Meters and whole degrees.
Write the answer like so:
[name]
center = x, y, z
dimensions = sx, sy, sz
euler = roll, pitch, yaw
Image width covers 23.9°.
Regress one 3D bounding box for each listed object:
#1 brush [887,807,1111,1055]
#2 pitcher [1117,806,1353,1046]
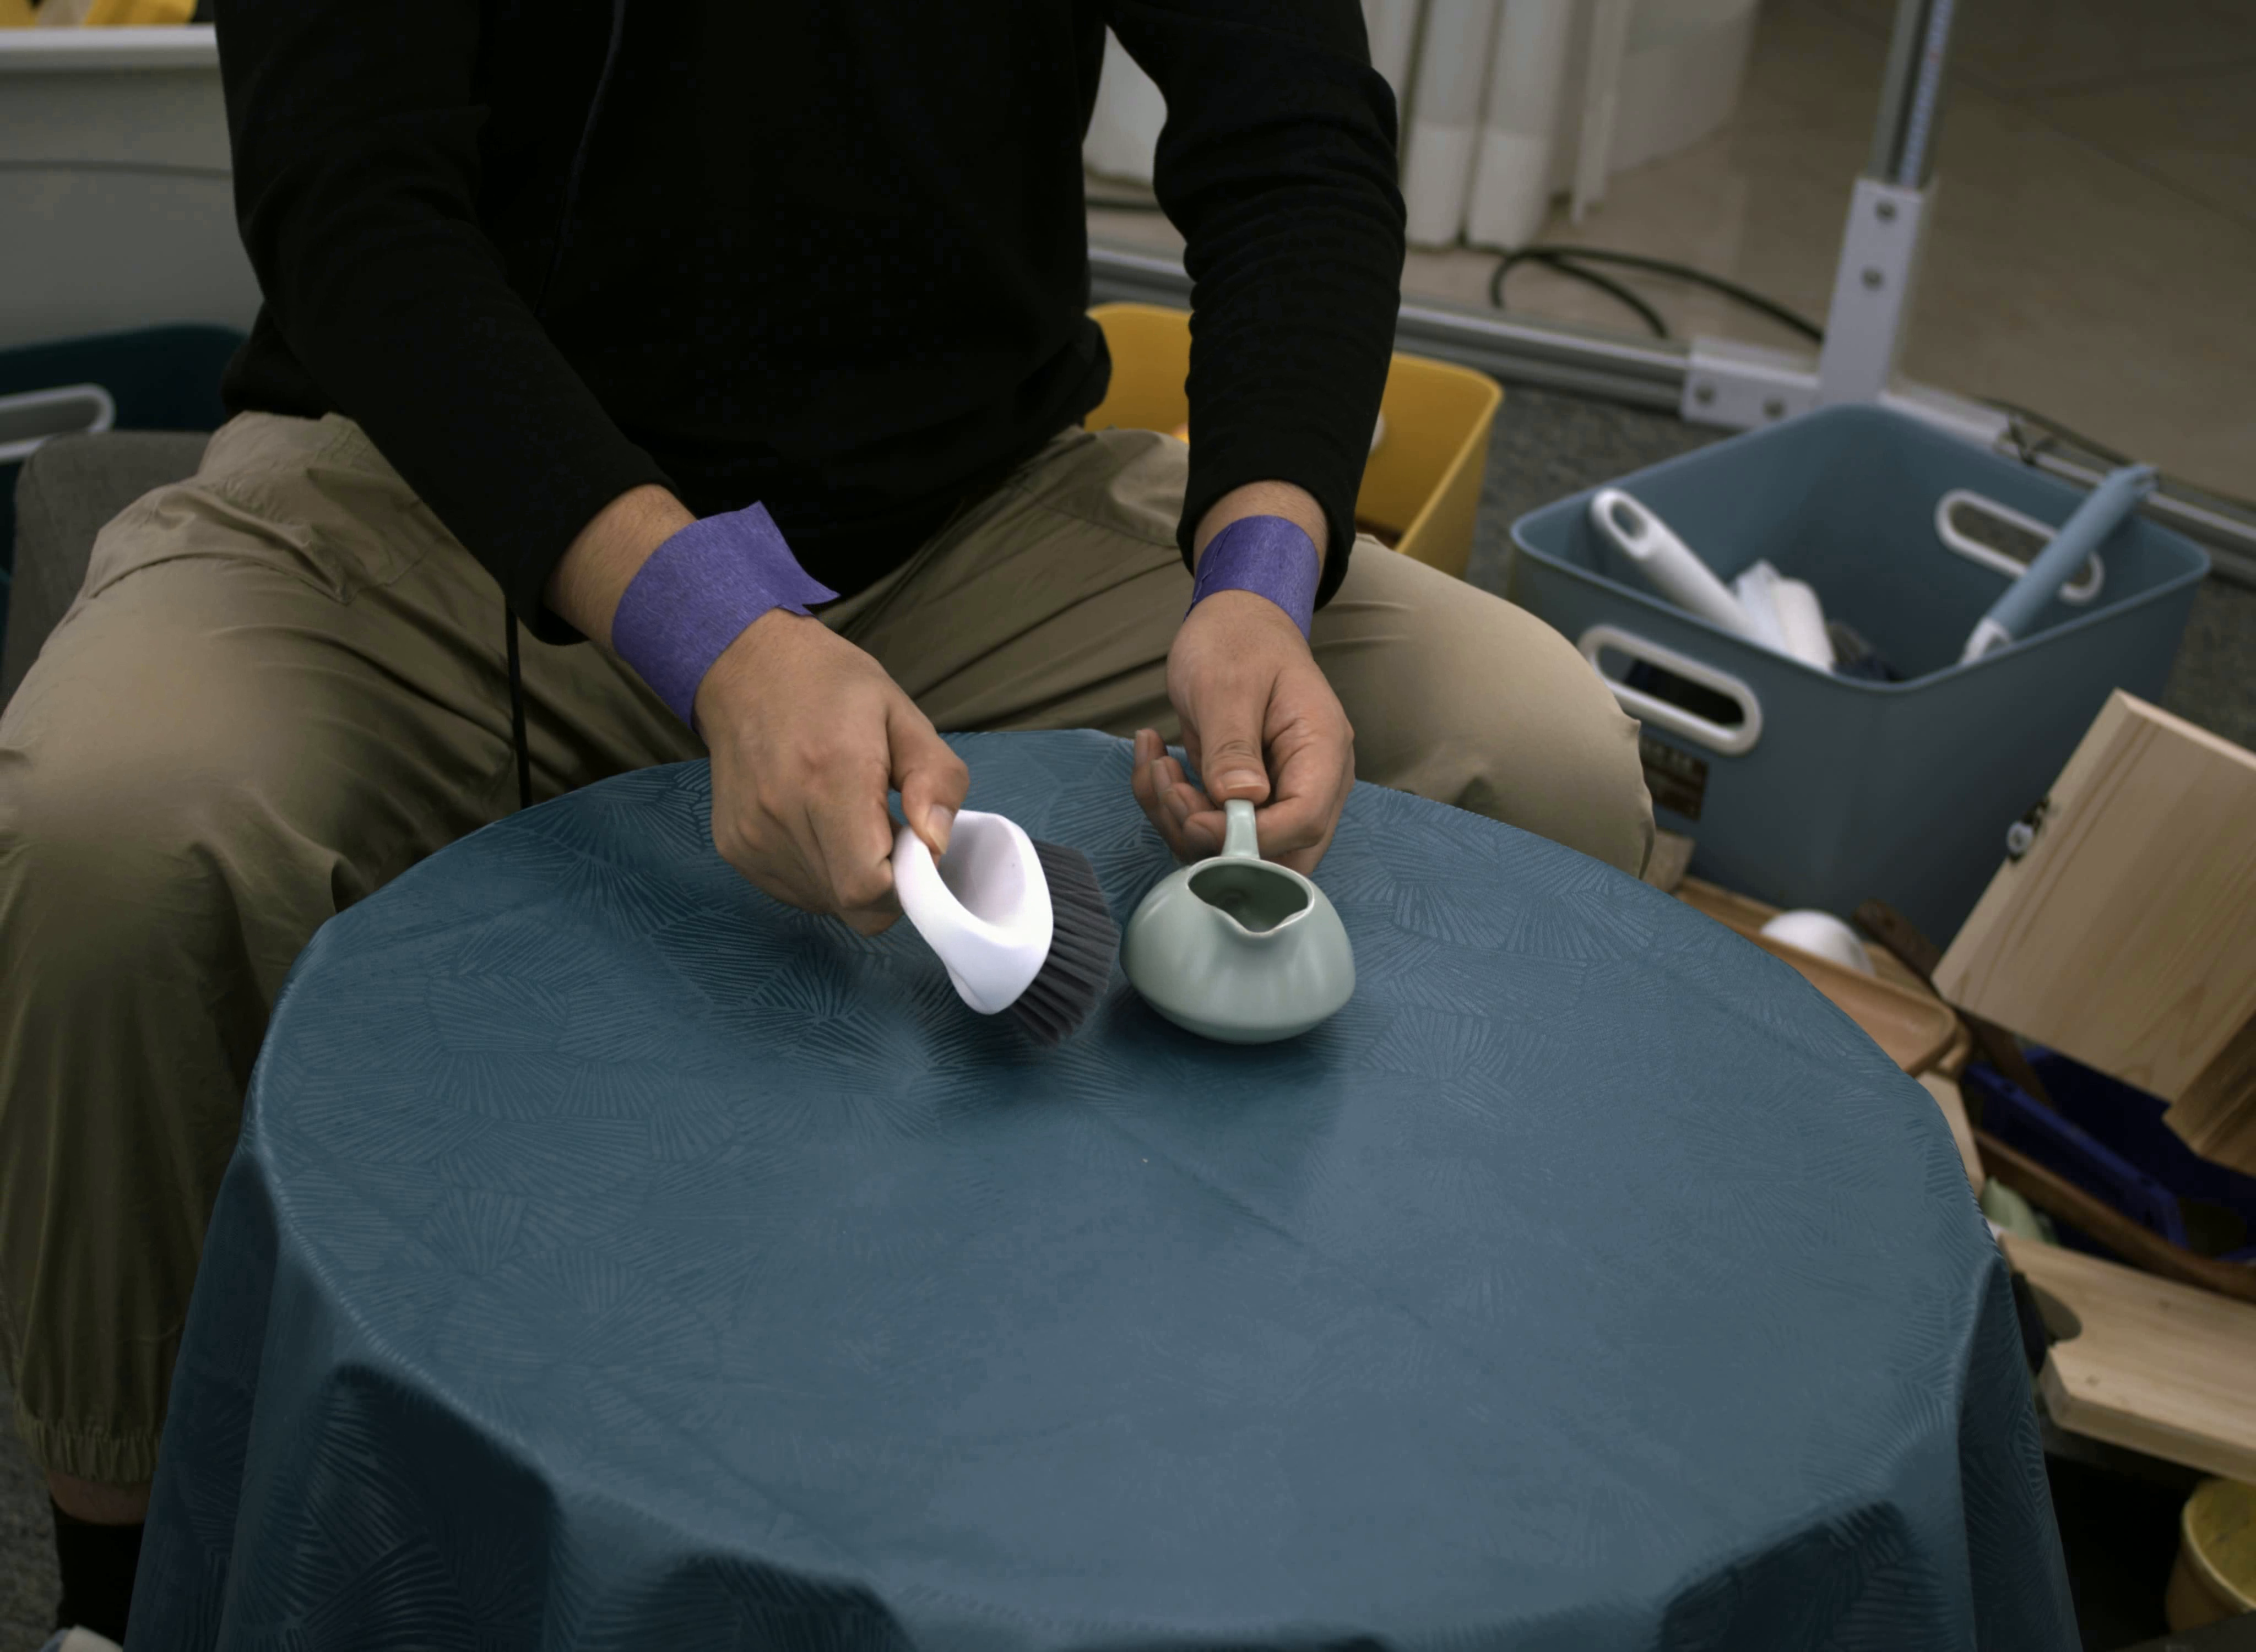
[brush]
center = -0.052, 0.029, 1.880
dimensions = 0.072, 0.050, 0.100
euler = 30, 23, -26
[pitcher]
center = 0.038, 0.037, 1.917
dimensions = 0.085, 0.060, 0.109
euler = 5, 25, -8
